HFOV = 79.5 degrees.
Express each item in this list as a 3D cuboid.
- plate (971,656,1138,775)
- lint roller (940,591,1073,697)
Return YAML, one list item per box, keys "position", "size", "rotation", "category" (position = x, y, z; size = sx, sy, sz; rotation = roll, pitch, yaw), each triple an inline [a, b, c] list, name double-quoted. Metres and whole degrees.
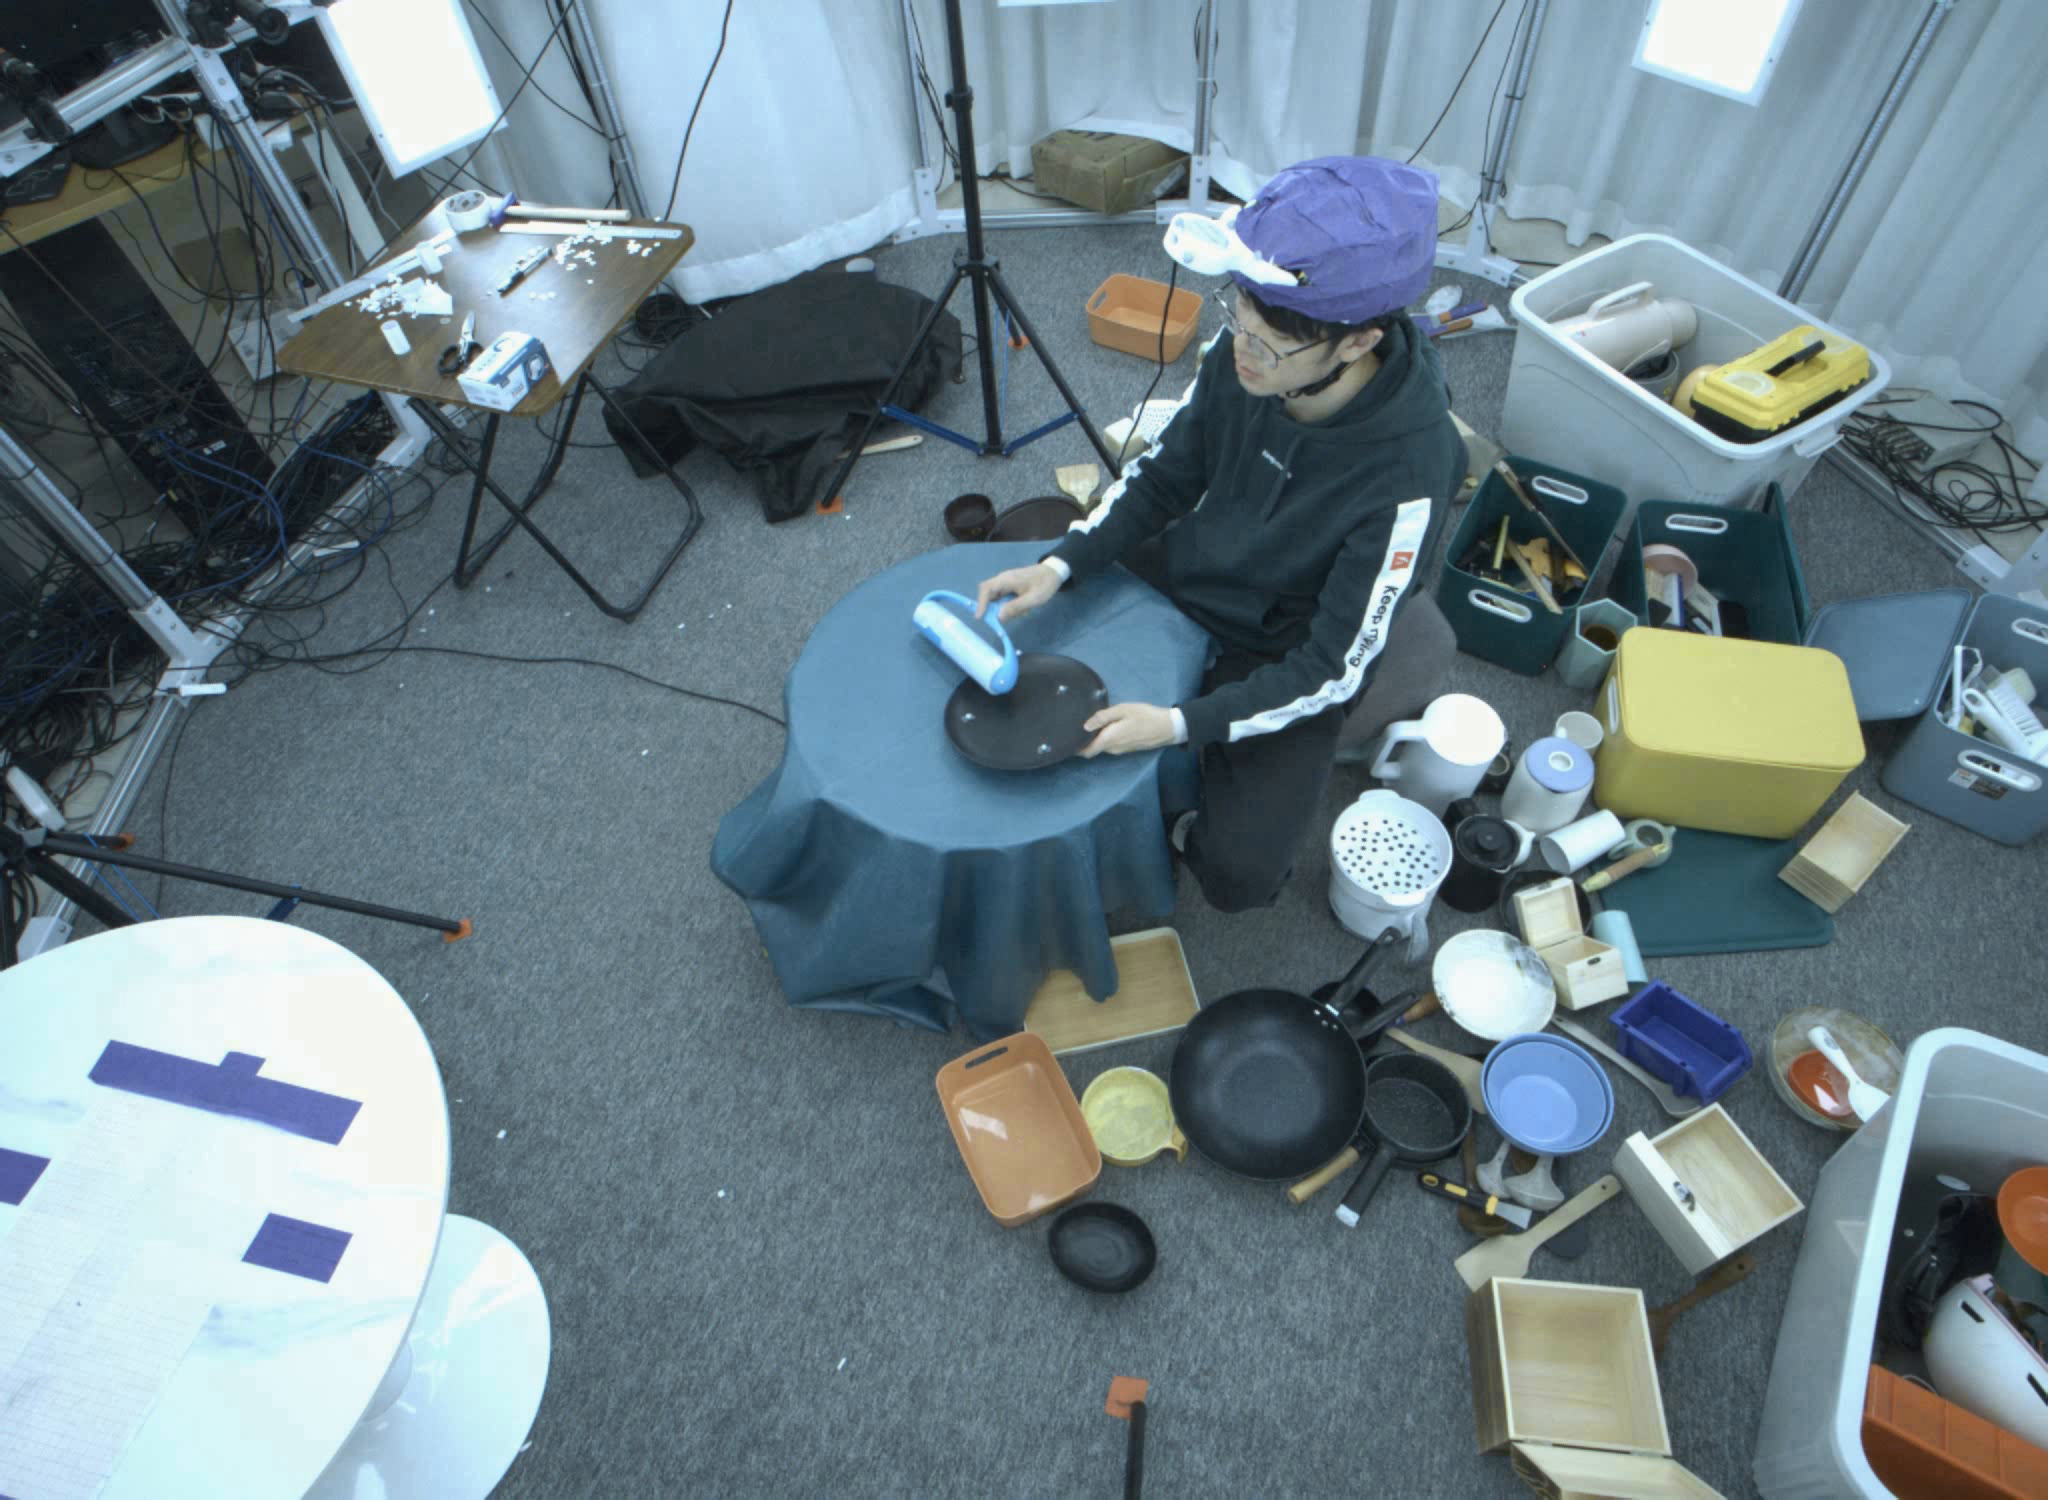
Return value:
- position: [0.044, -0.047, 1.784]
  size: [0.243, 0.024, 0.242]
  rotation: [-4, 46, 5]
  category: "plate"
- position: [-0.005, -0.191, 1.851]
  size: [0.181, 0.069, 0.224]
  rotation: [-39, 56, -16]
  category: "lint roller"
